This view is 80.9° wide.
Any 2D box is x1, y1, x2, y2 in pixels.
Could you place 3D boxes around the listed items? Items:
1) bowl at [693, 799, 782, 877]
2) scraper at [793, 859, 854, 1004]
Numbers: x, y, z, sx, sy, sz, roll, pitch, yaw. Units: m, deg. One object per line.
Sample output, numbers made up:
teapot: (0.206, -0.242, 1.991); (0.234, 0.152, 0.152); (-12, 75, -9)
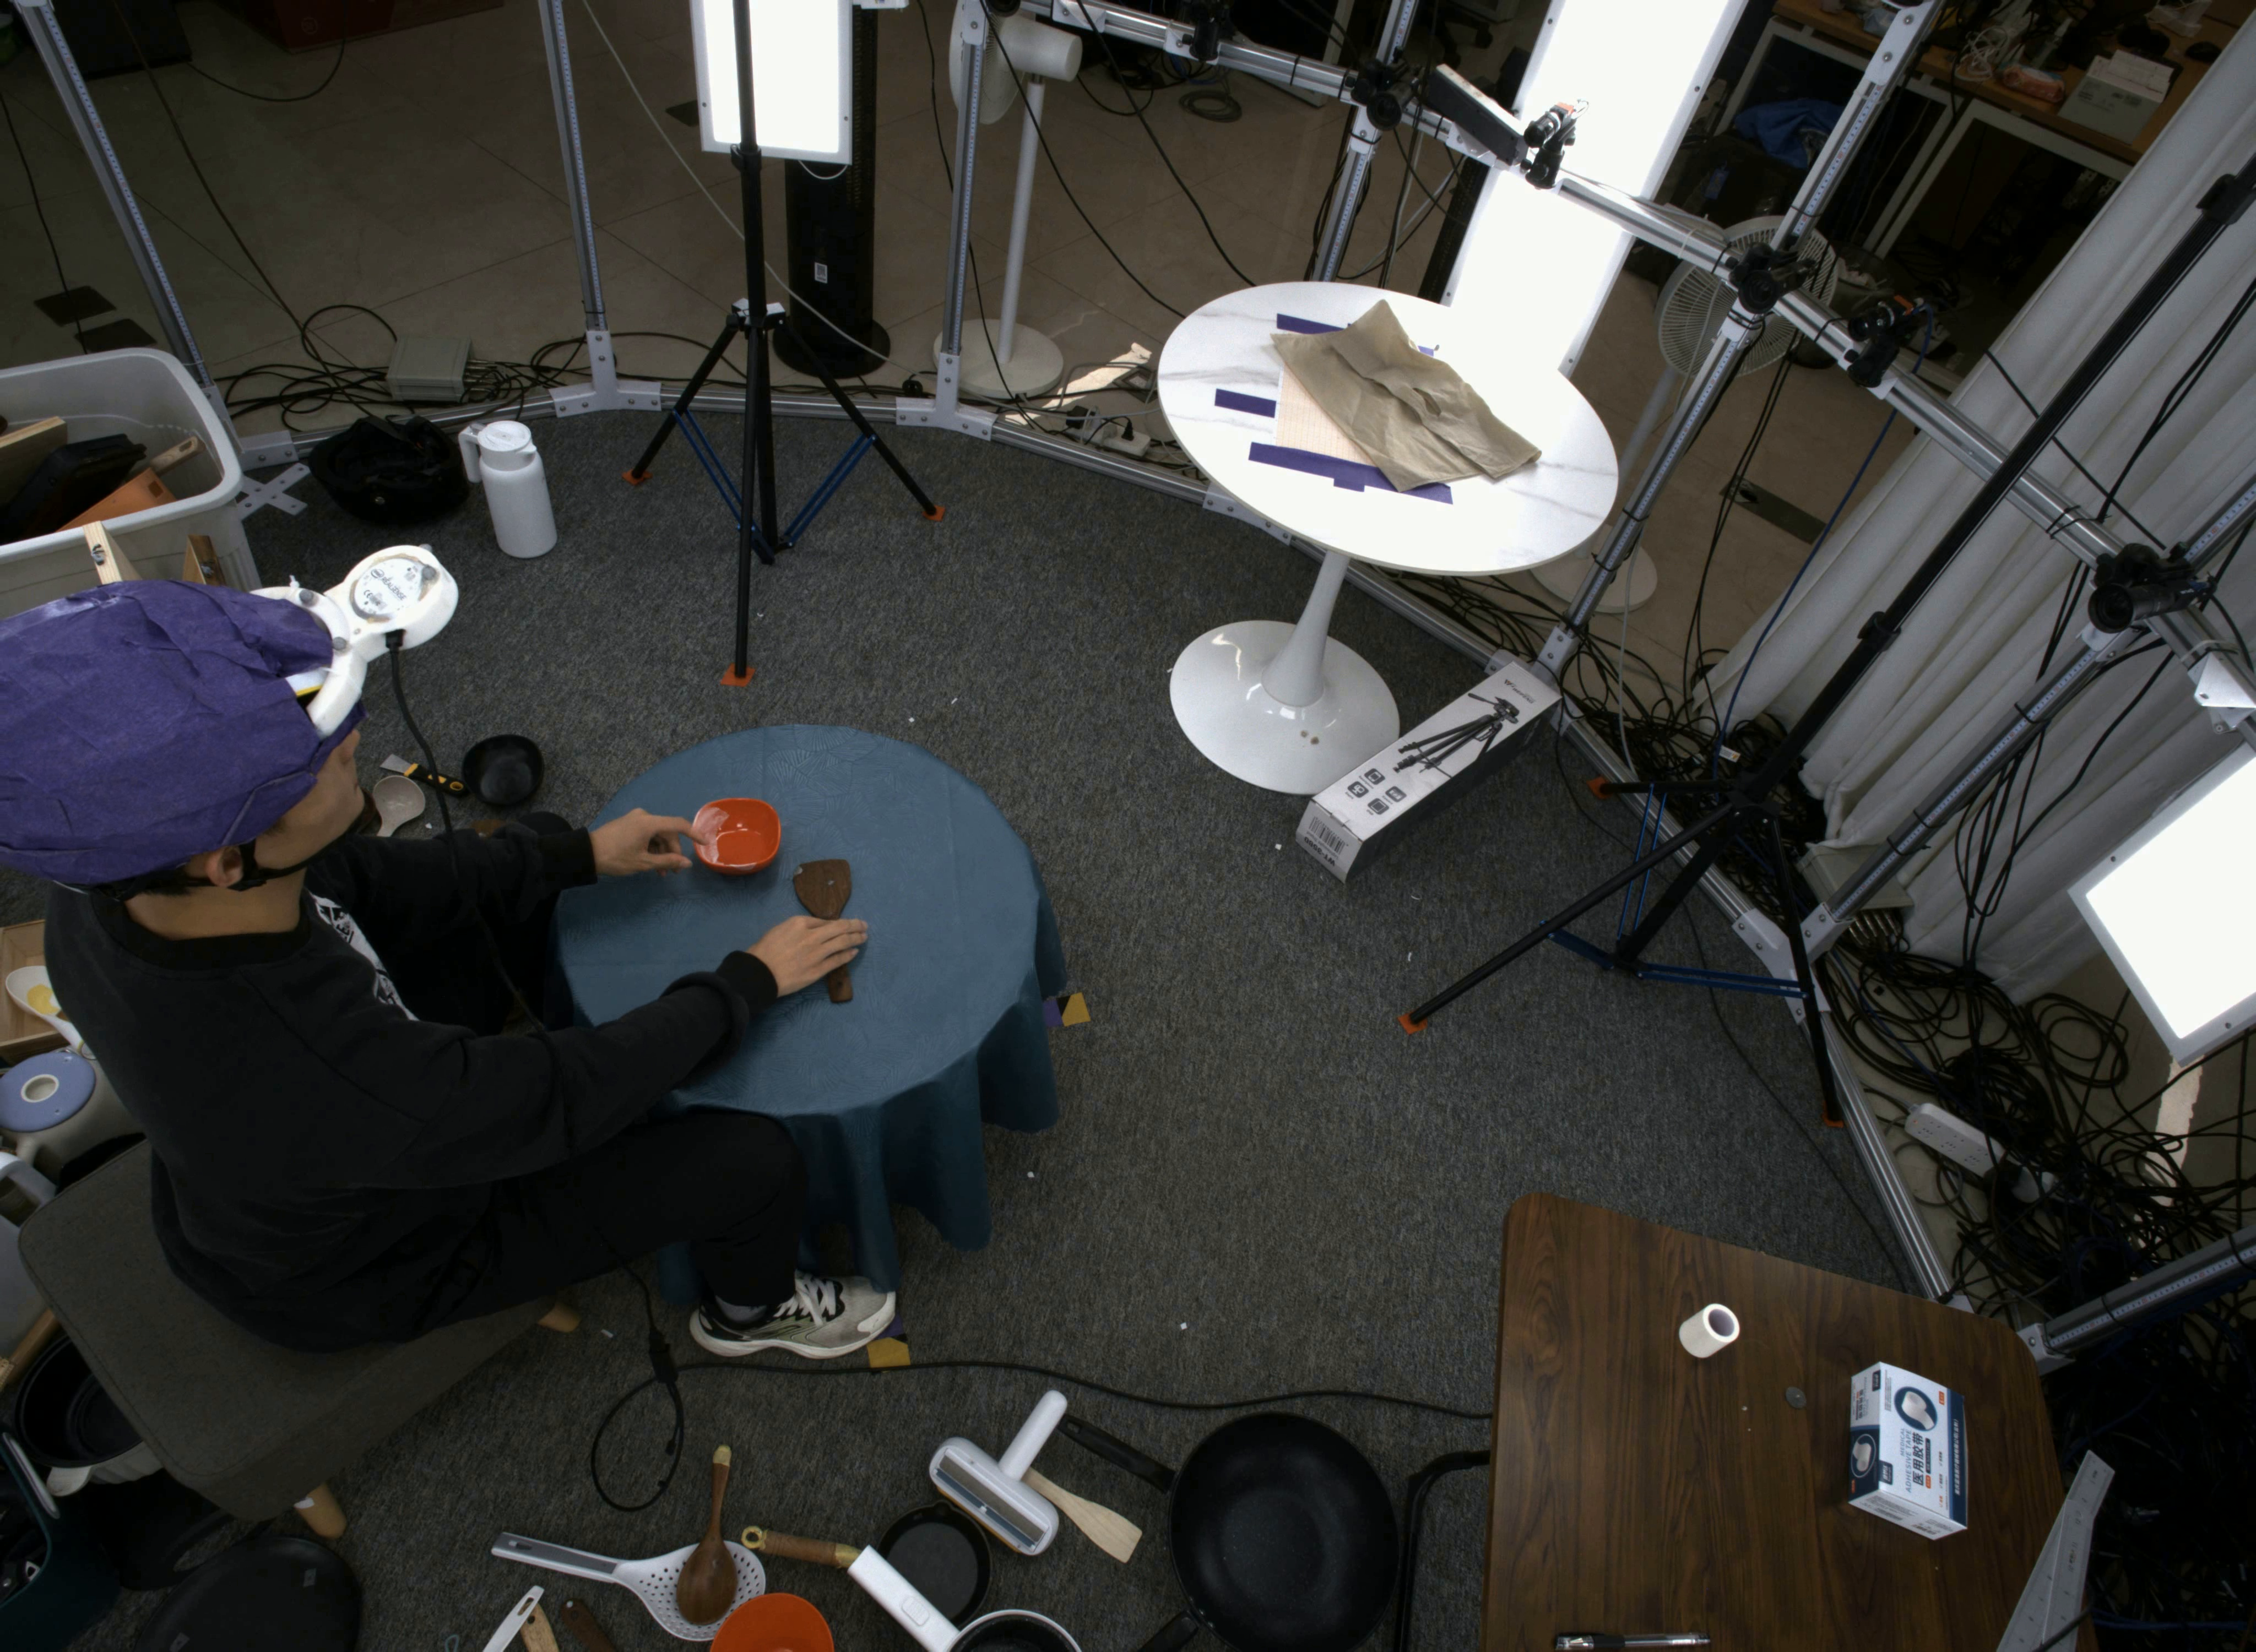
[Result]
bowl: (-0.501, 0.022, 1.662); (0.119, 0.052, 0.117); (8, 52, -9)
scraper: (-0.375, 0.130, 1.640); (0.076, 0.011, 0.206); (-7, 57, -17)
